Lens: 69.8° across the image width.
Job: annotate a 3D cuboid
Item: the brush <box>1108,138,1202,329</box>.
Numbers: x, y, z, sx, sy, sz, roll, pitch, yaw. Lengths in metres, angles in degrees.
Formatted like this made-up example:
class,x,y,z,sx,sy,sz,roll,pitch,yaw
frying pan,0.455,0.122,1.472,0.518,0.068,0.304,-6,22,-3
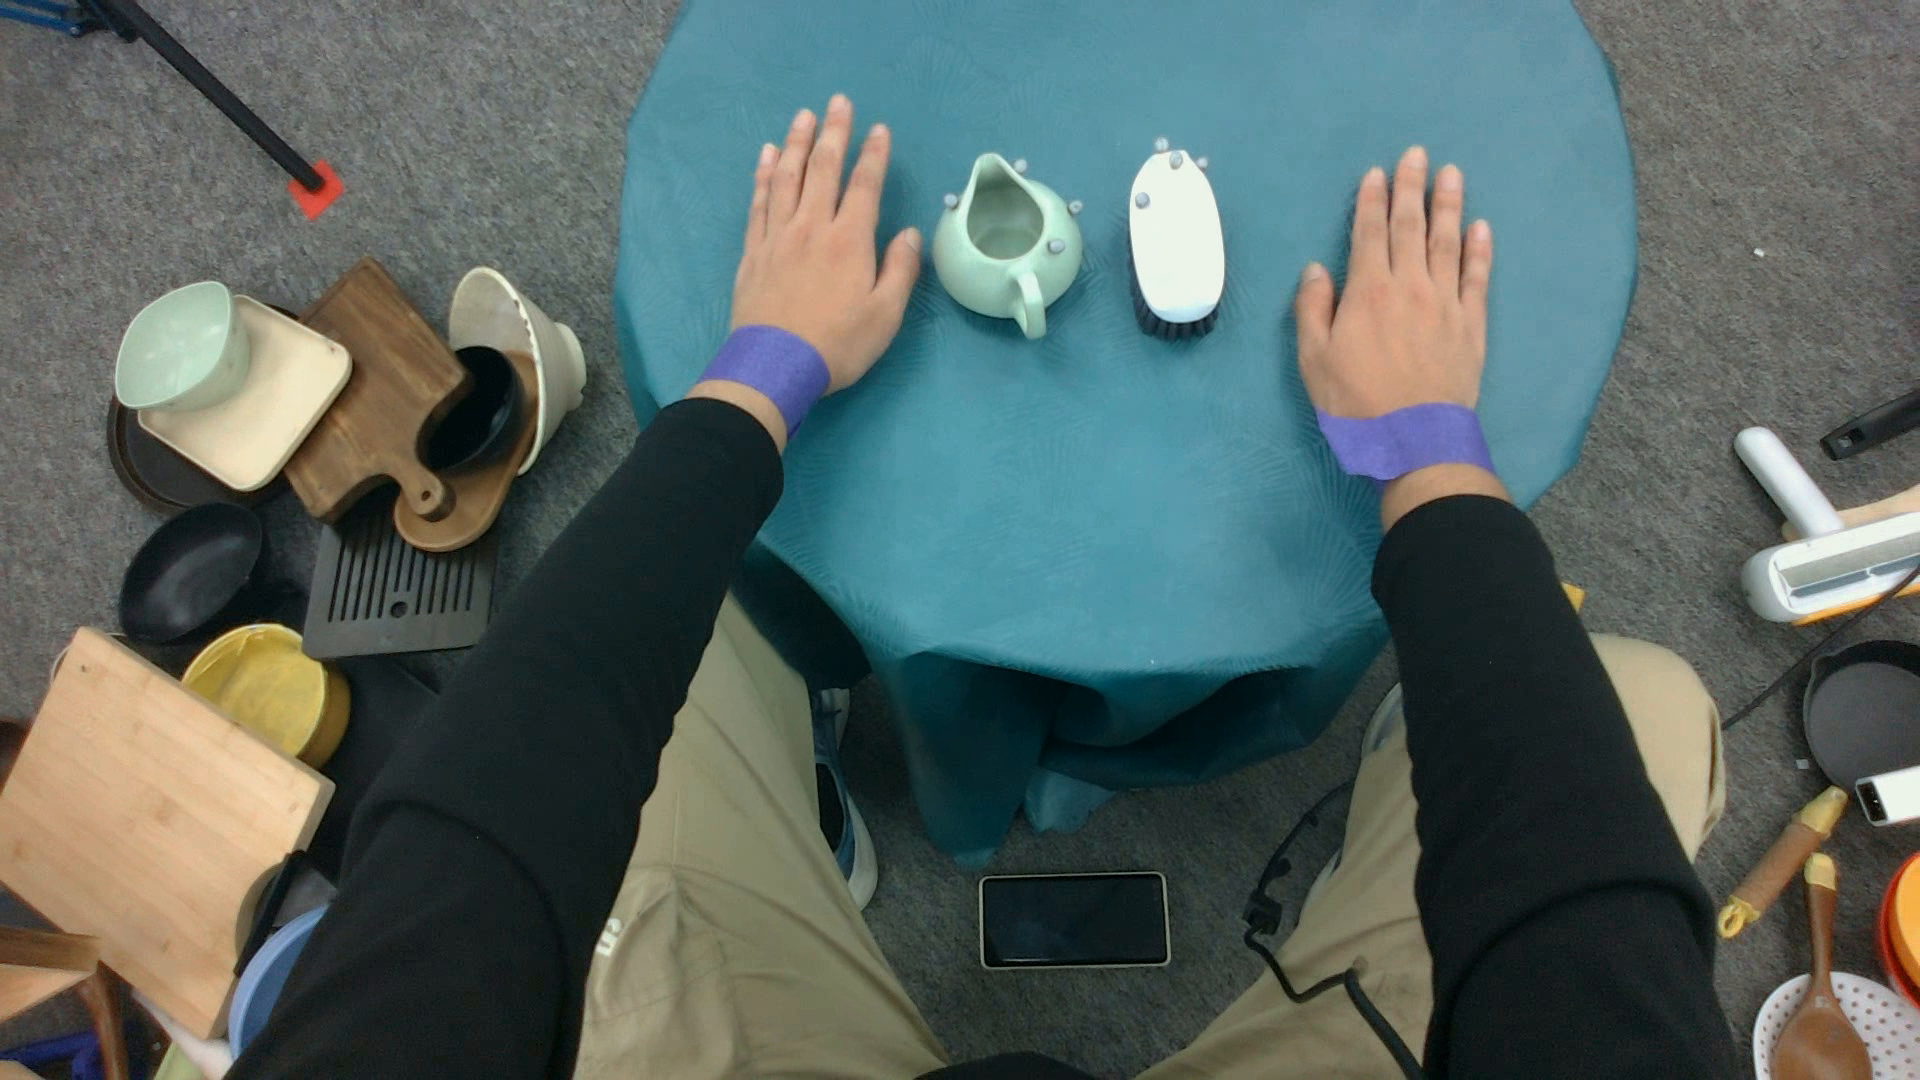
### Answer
class,x,y,z,sx,sy,sz,roll,pitch,yaw
brush,0.109,-0.177,0.766,0.050,0.072,0.099,-5,71,4

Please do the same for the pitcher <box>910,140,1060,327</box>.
class,x,y,z,sx,sy,sz,roll,pitch,yaw
pitcher,0.018,-0.167,0.780,0.086,0.060,0.108,-19,75,-2
